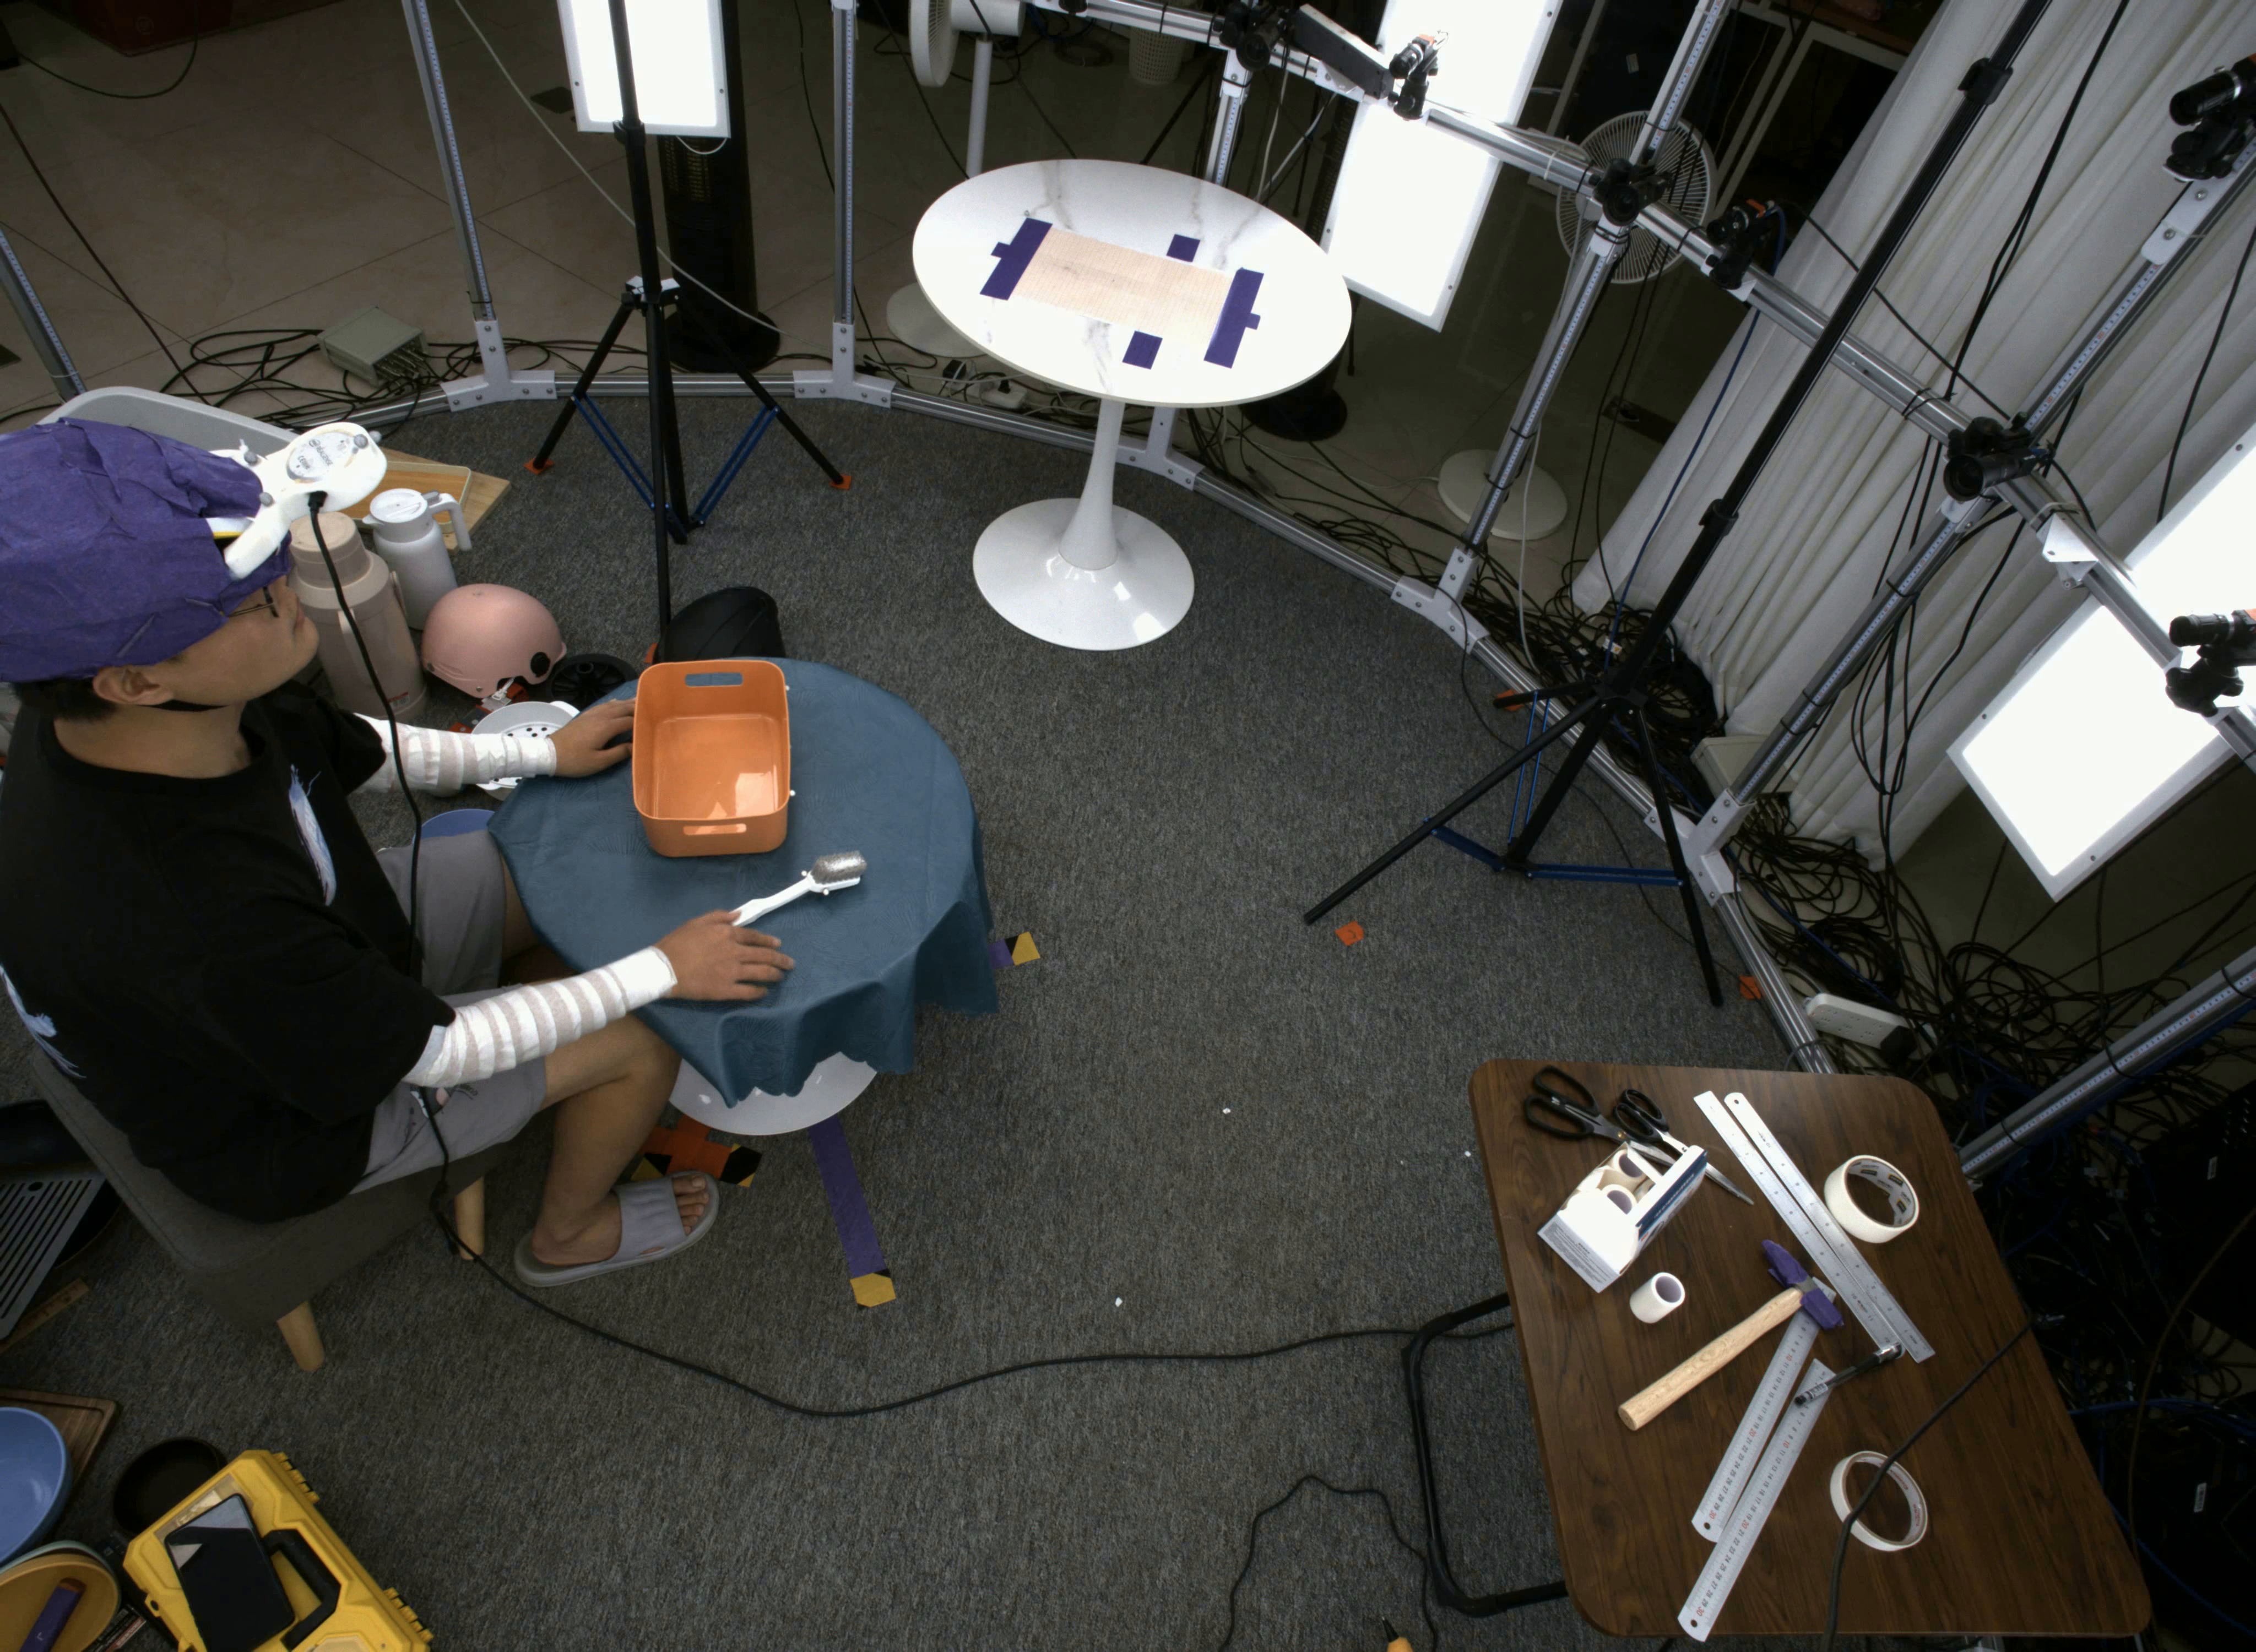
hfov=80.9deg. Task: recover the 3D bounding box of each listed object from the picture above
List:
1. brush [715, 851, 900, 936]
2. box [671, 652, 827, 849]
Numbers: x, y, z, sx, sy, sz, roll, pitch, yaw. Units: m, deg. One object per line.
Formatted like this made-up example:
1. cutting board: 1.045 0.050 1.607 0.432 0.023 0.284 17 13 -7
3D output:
1. brush: -0.407 0.081 1.646 0.245 0.051 0.033 -18 60 -26
2. box: -0.500 -0.097 1.717 0.200 0.104 0.267 -1 54 -15
